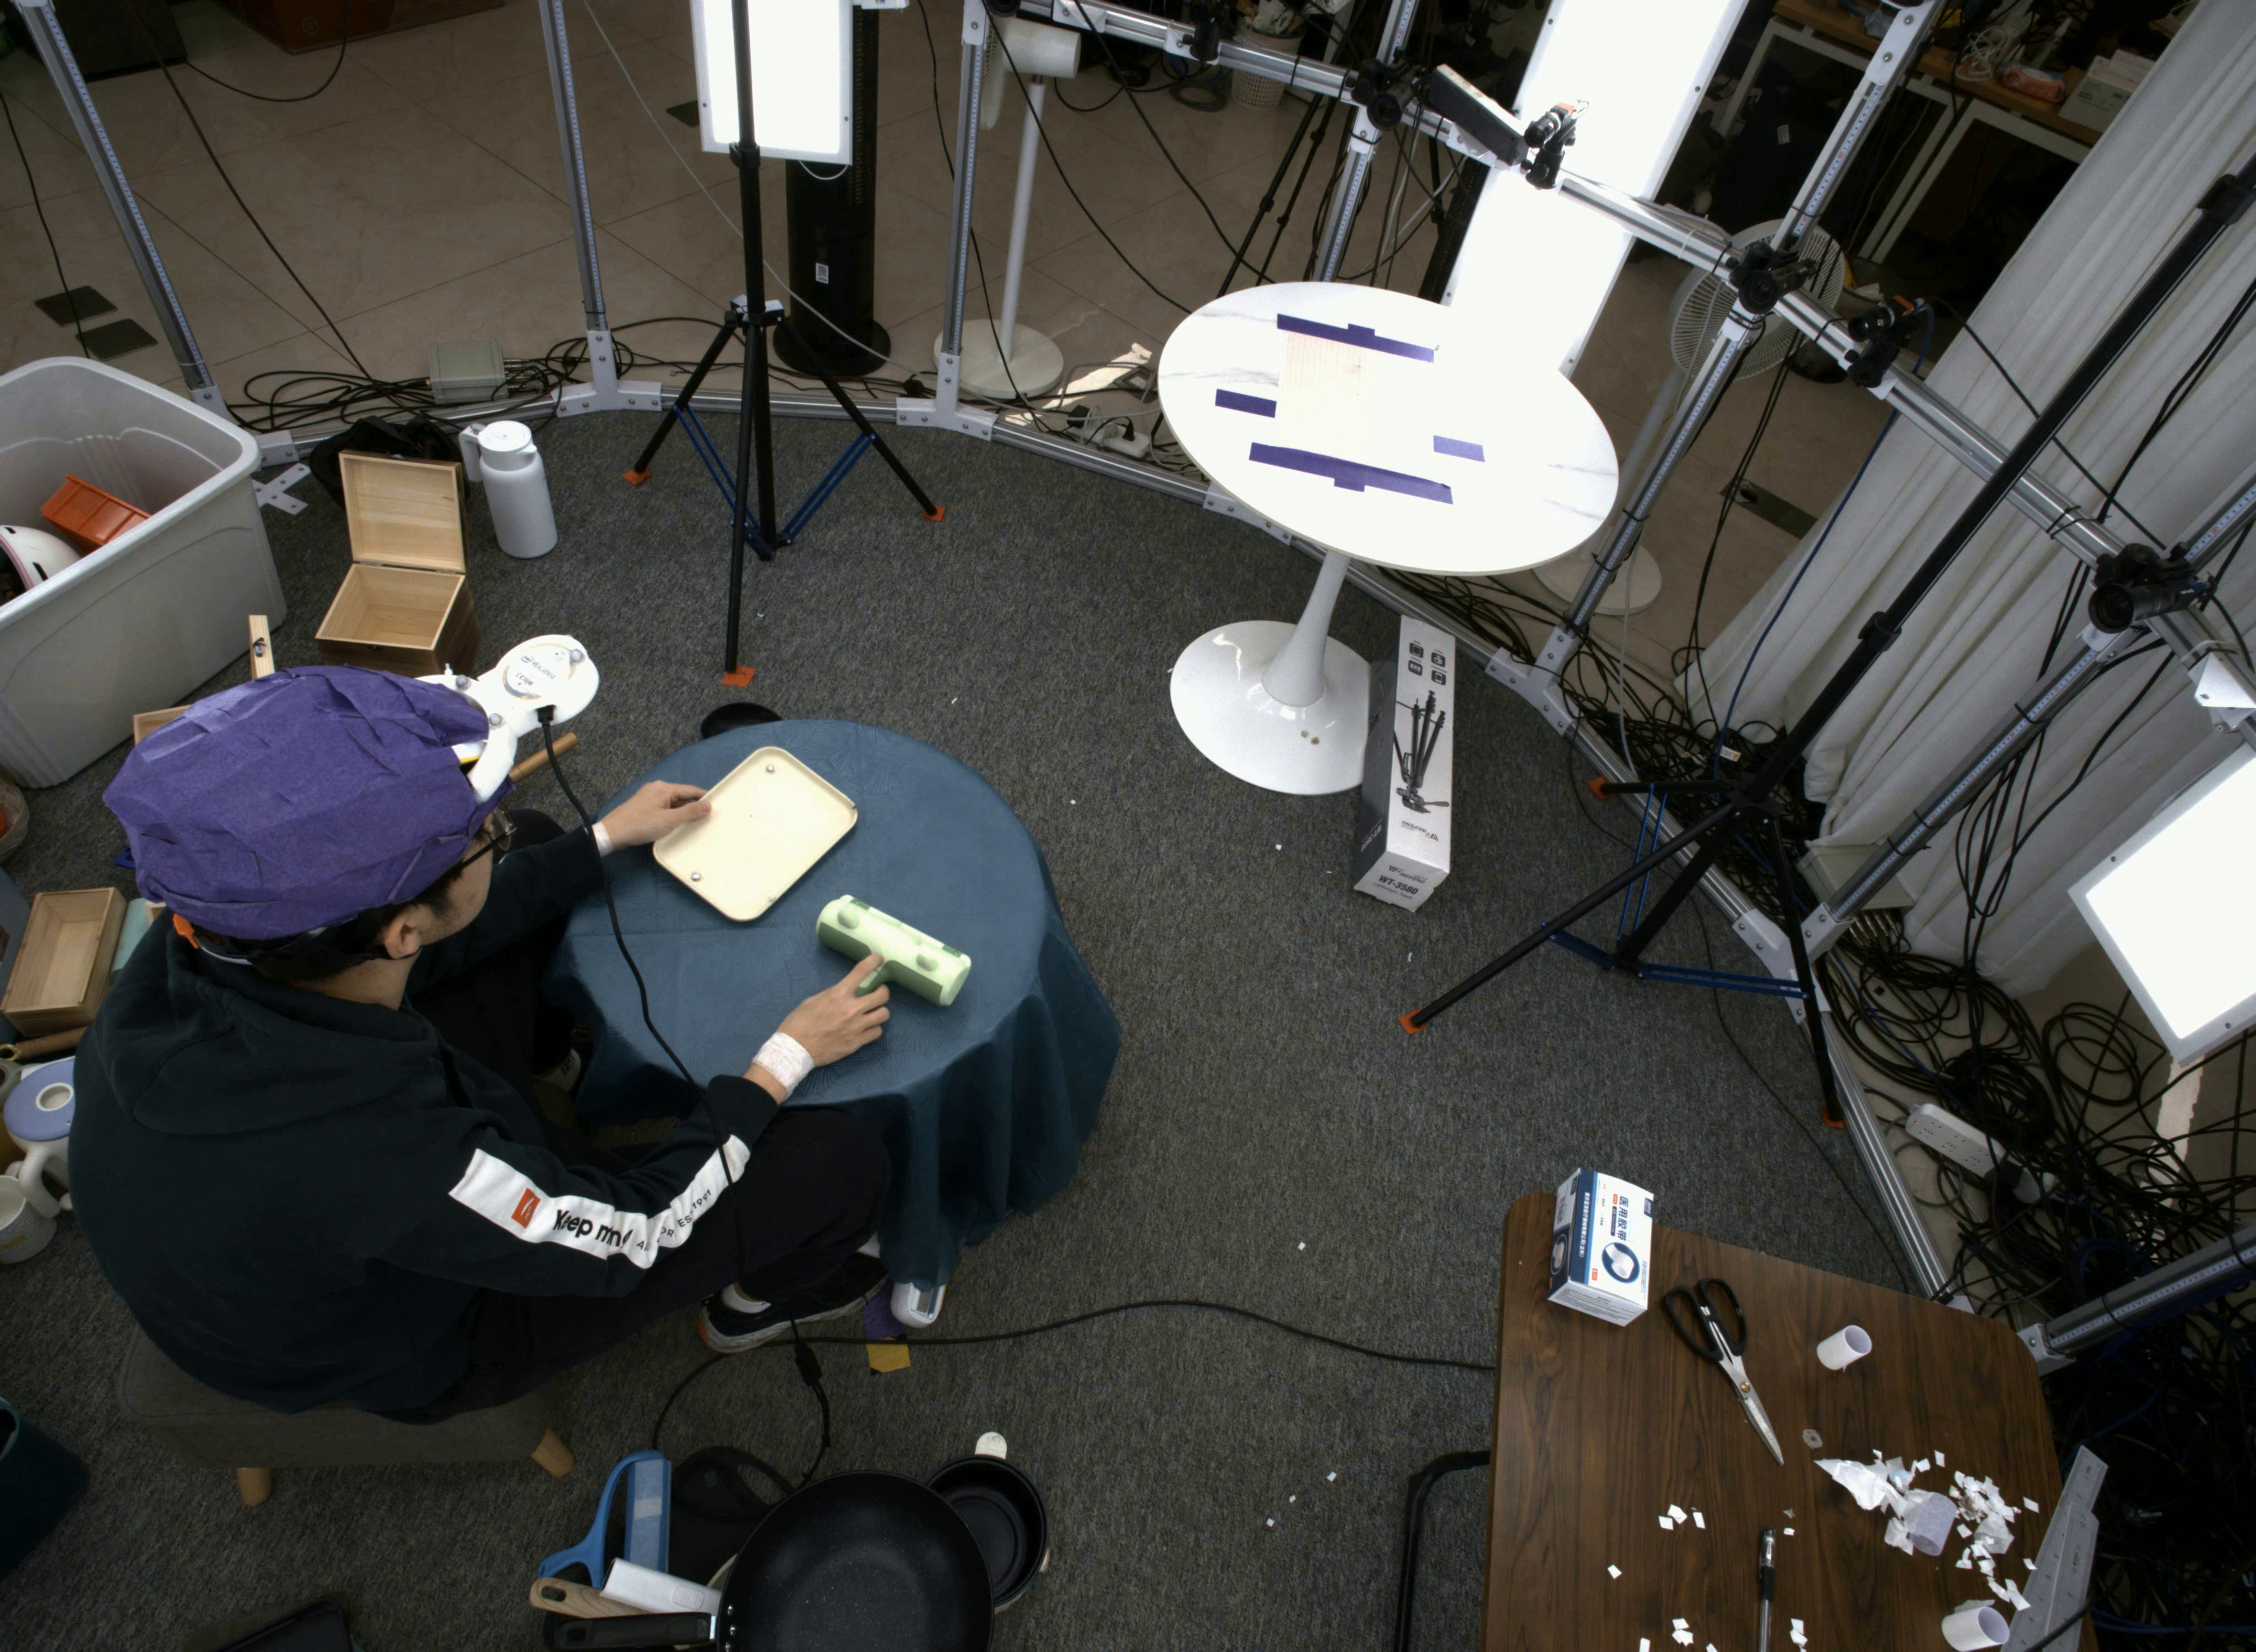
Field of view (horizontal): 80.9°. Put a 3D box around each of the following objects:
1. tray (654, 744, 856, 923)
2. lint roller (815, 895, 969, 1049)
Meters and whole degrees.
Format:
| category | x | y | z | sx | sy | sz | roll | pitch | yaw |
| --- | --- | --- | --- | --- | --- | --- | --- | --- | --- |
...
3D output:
| category | x | y | z | sx | sy | sz | roll | pitch | yaw |
| --- | --- | --- | --- | --- | --- | --- | --- | --- | --- |
| tray | -0.482 | 0.006 | 1.683 | 0.170 | 0.017 | 0.239 | 37 | 54 | 2 |
| lint roller | -0.318 | 0.180 | 1.565 | 0.194 | 0.084 | 0.182 | 26 | 50 | 13 |
